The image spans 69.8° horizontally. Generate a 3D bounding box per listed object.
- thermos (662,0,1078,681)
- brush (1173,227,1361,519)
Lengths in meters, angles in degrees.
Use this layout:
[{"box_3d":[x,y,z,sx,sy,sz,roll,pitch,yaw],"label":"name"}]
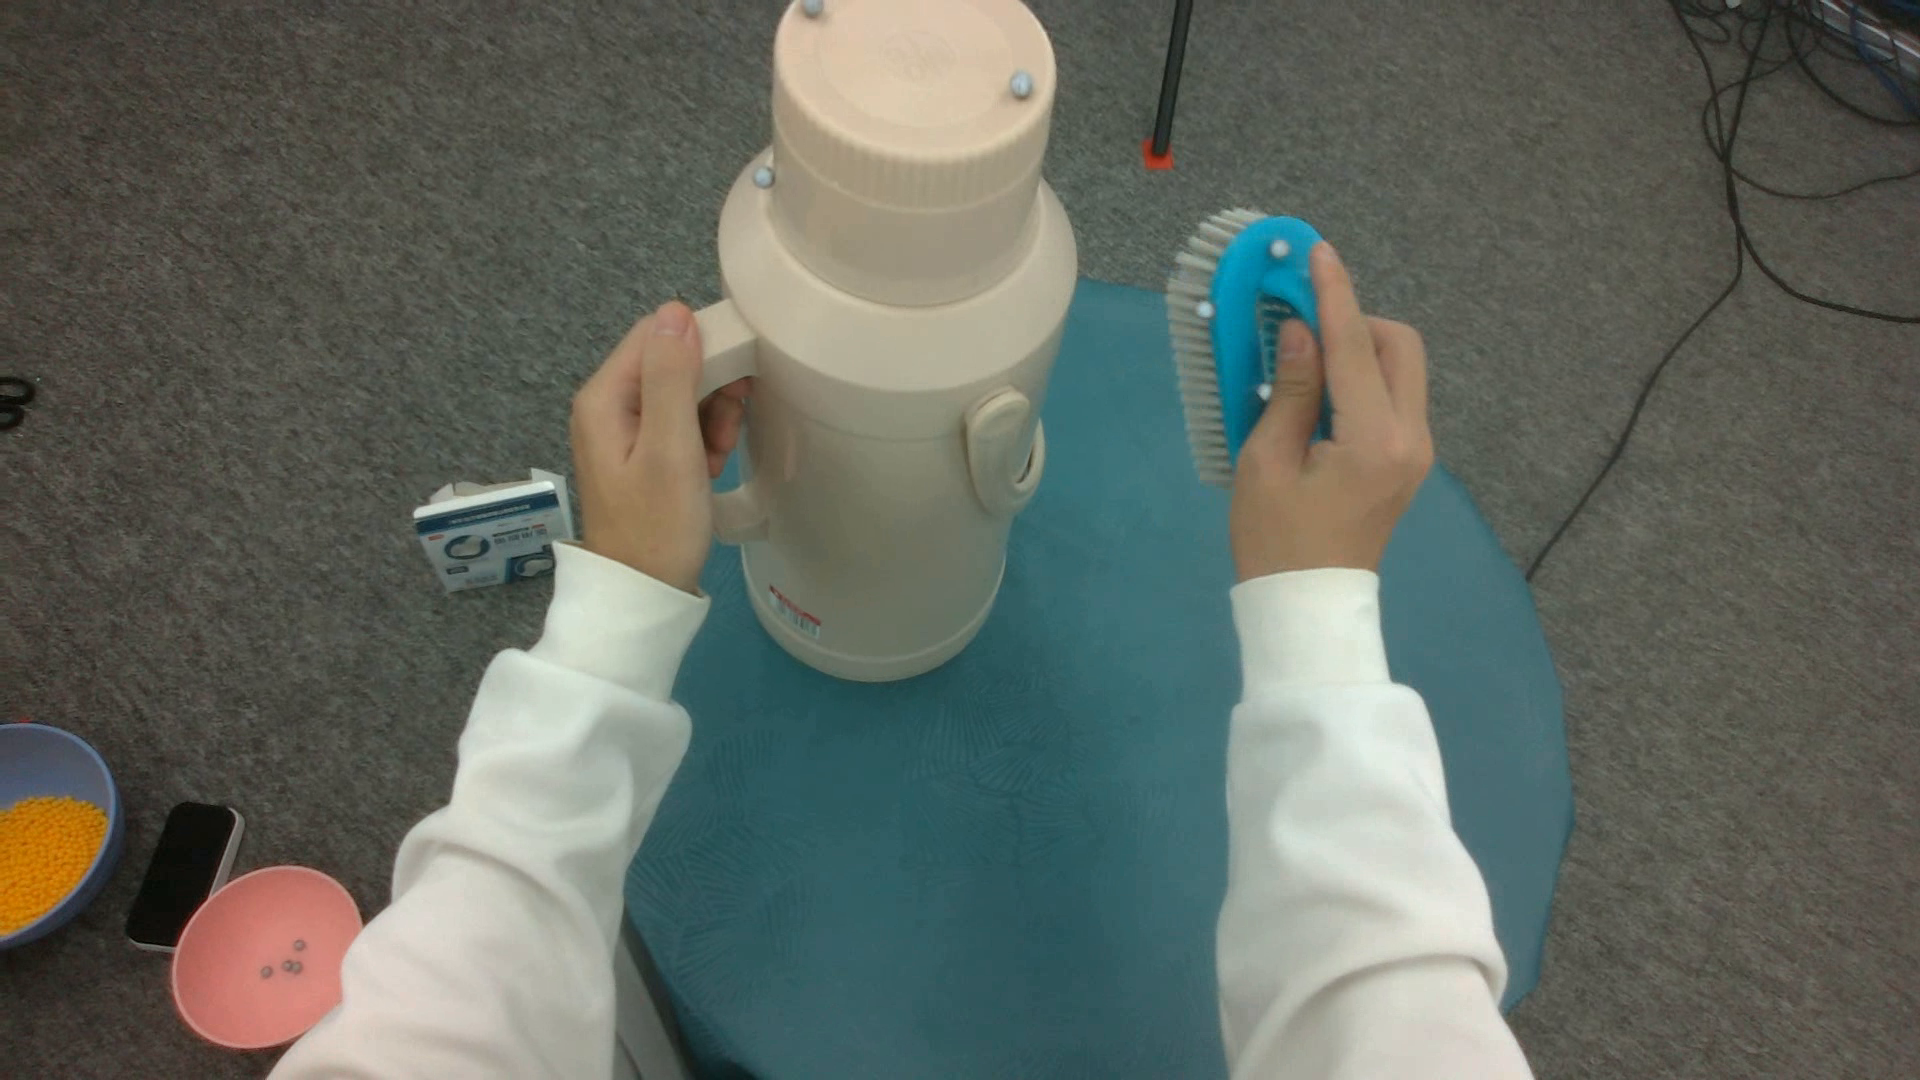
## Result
[{"box_3d":[-0.044,-0.073,0.693,0.207,0.404,0.175,-29,68,-19],"label":"thermos"},{"box_3d":[0.152,-0.076,0.638,0.085,0.141,0.063,-30,30,-31],"label":"brush"}]
